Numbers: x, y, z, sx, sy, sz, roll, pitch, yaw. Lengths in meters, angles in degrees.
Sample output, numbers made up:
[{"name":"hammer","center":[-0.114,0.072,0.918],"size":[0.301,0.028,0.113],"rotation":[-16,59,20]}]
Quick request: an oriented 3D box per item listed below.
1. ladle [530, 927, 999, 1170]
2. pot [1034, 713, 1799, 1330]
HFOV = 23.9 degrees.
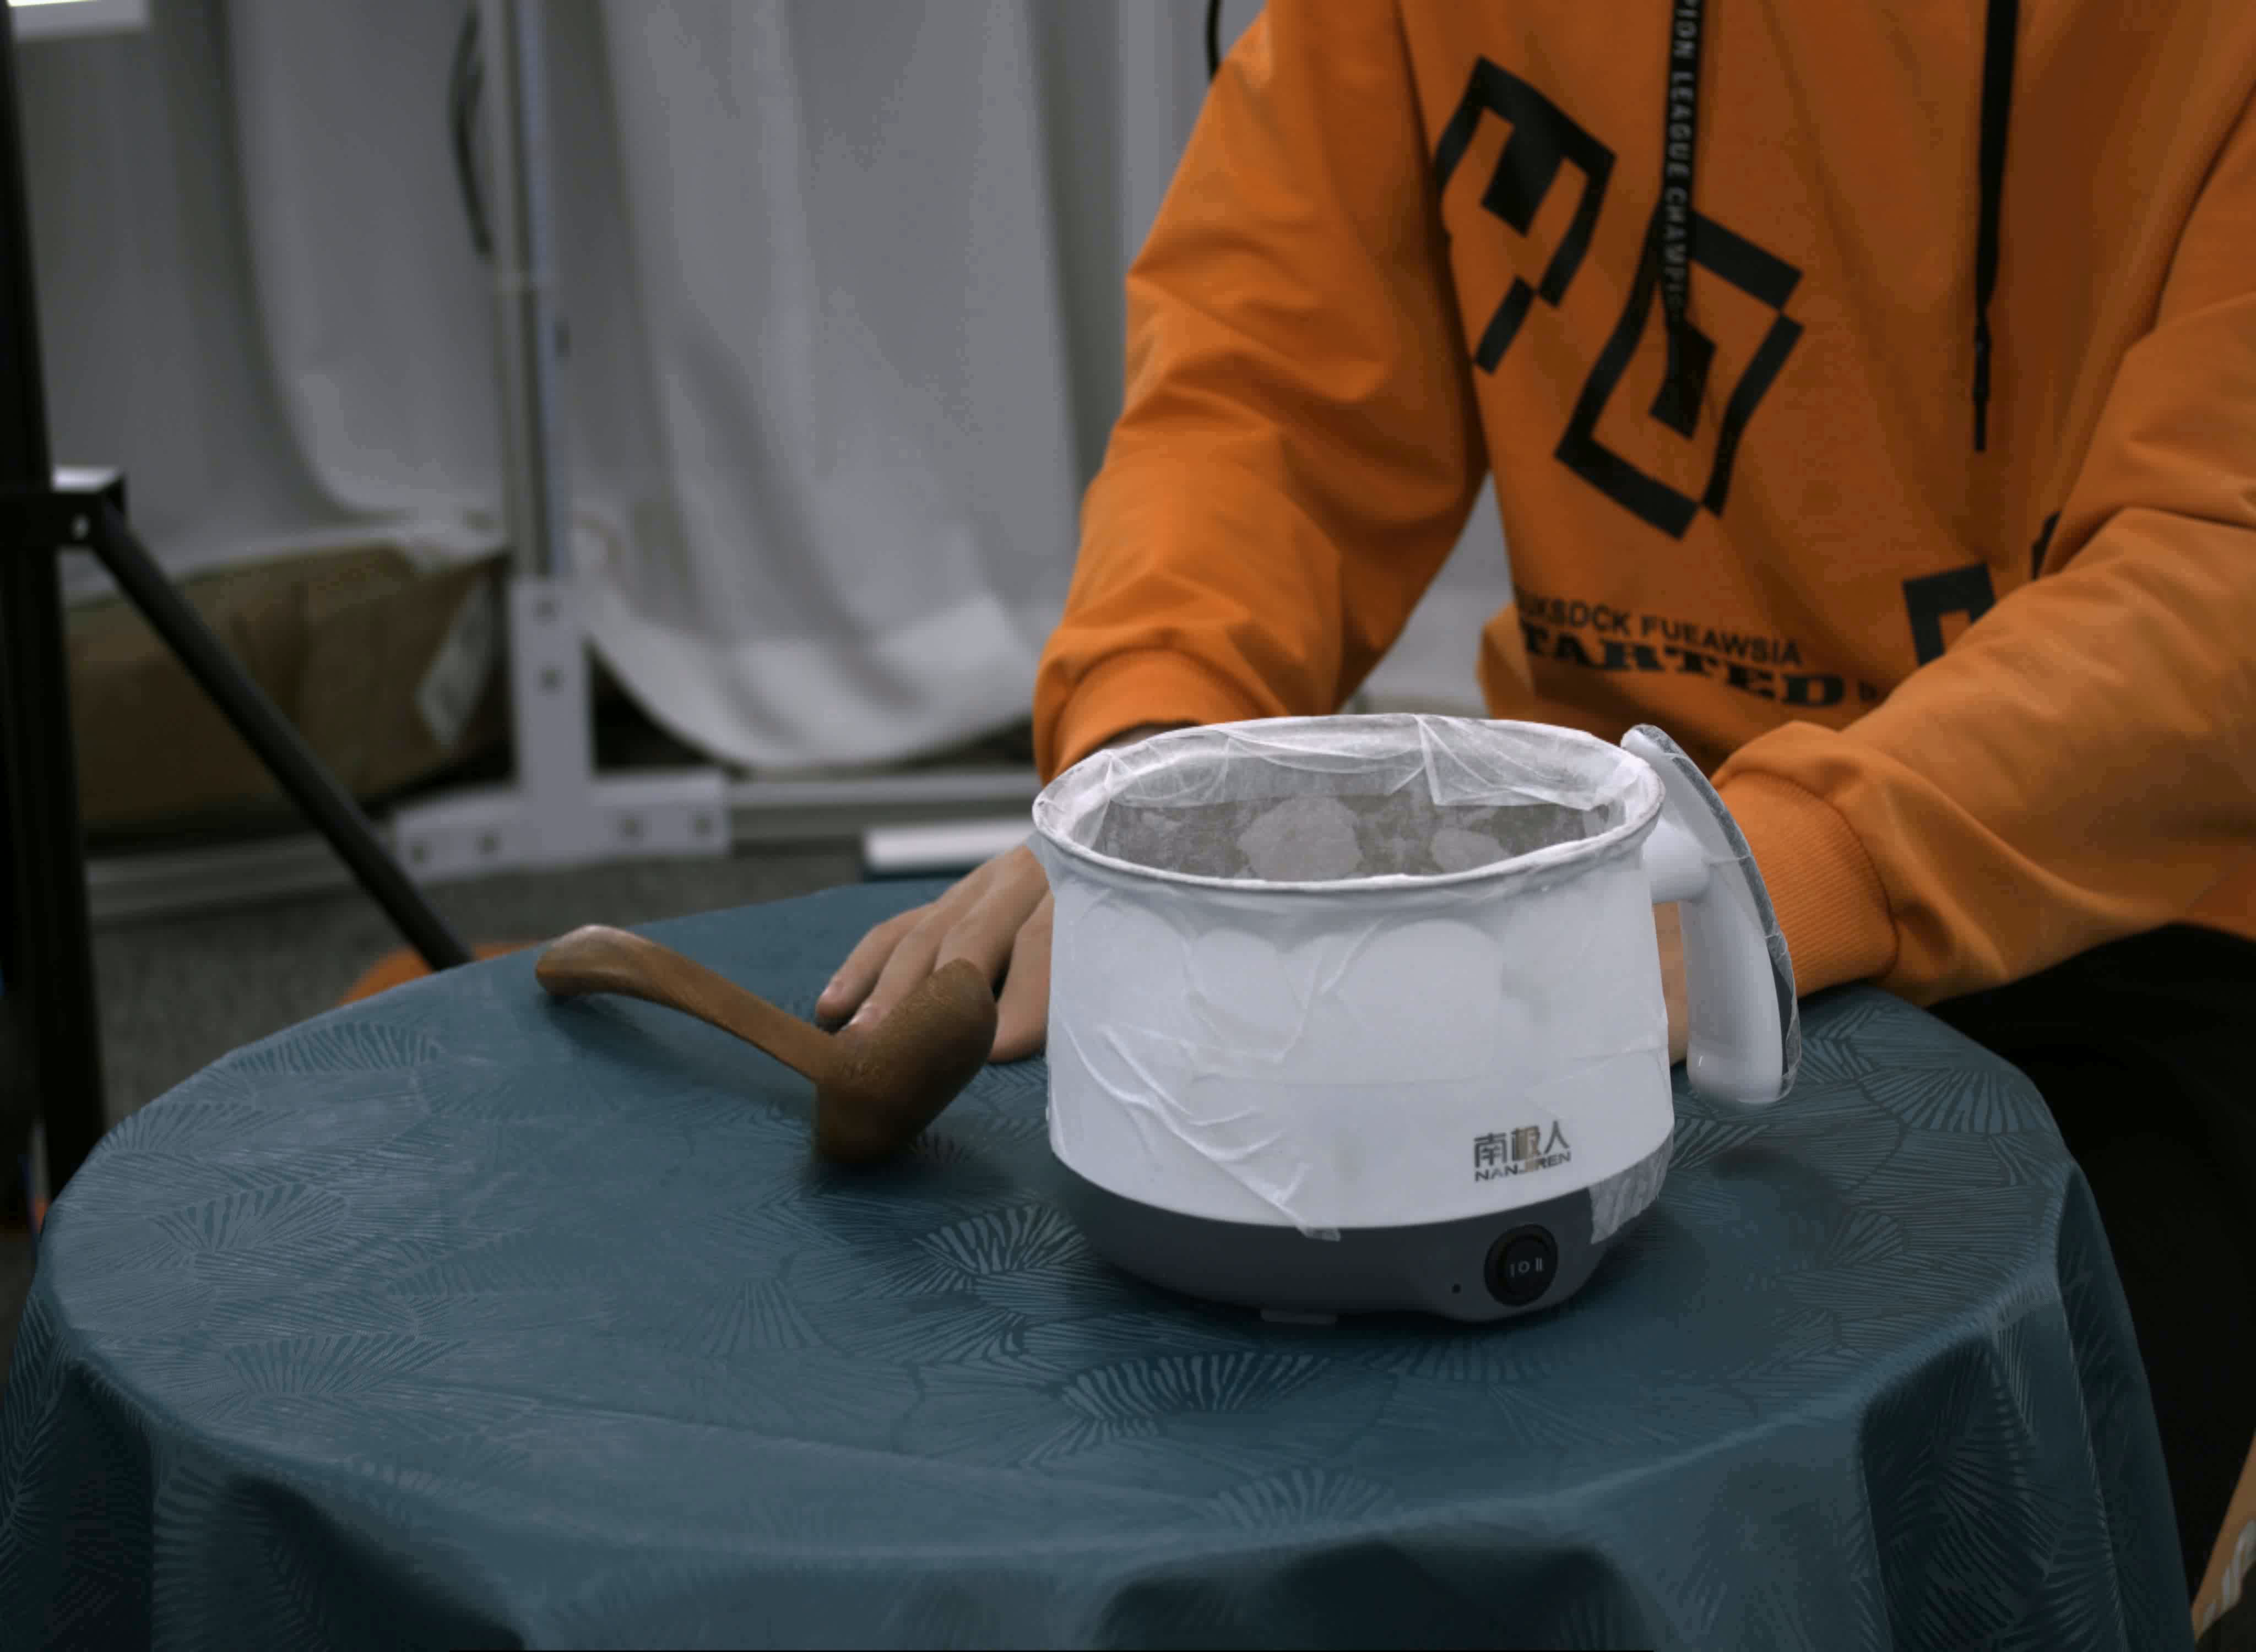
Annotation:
[{"name":"ladle","center":[-0.126,0.052,1.666],"size":[0.076,0.064,0.266],"rotation":[-38,31,-22]},{"name":"pot","center":[0.088,0.048,1.504],"size":[0.229,0.136,0.182],"rotation":[-11,18,-27]}]
